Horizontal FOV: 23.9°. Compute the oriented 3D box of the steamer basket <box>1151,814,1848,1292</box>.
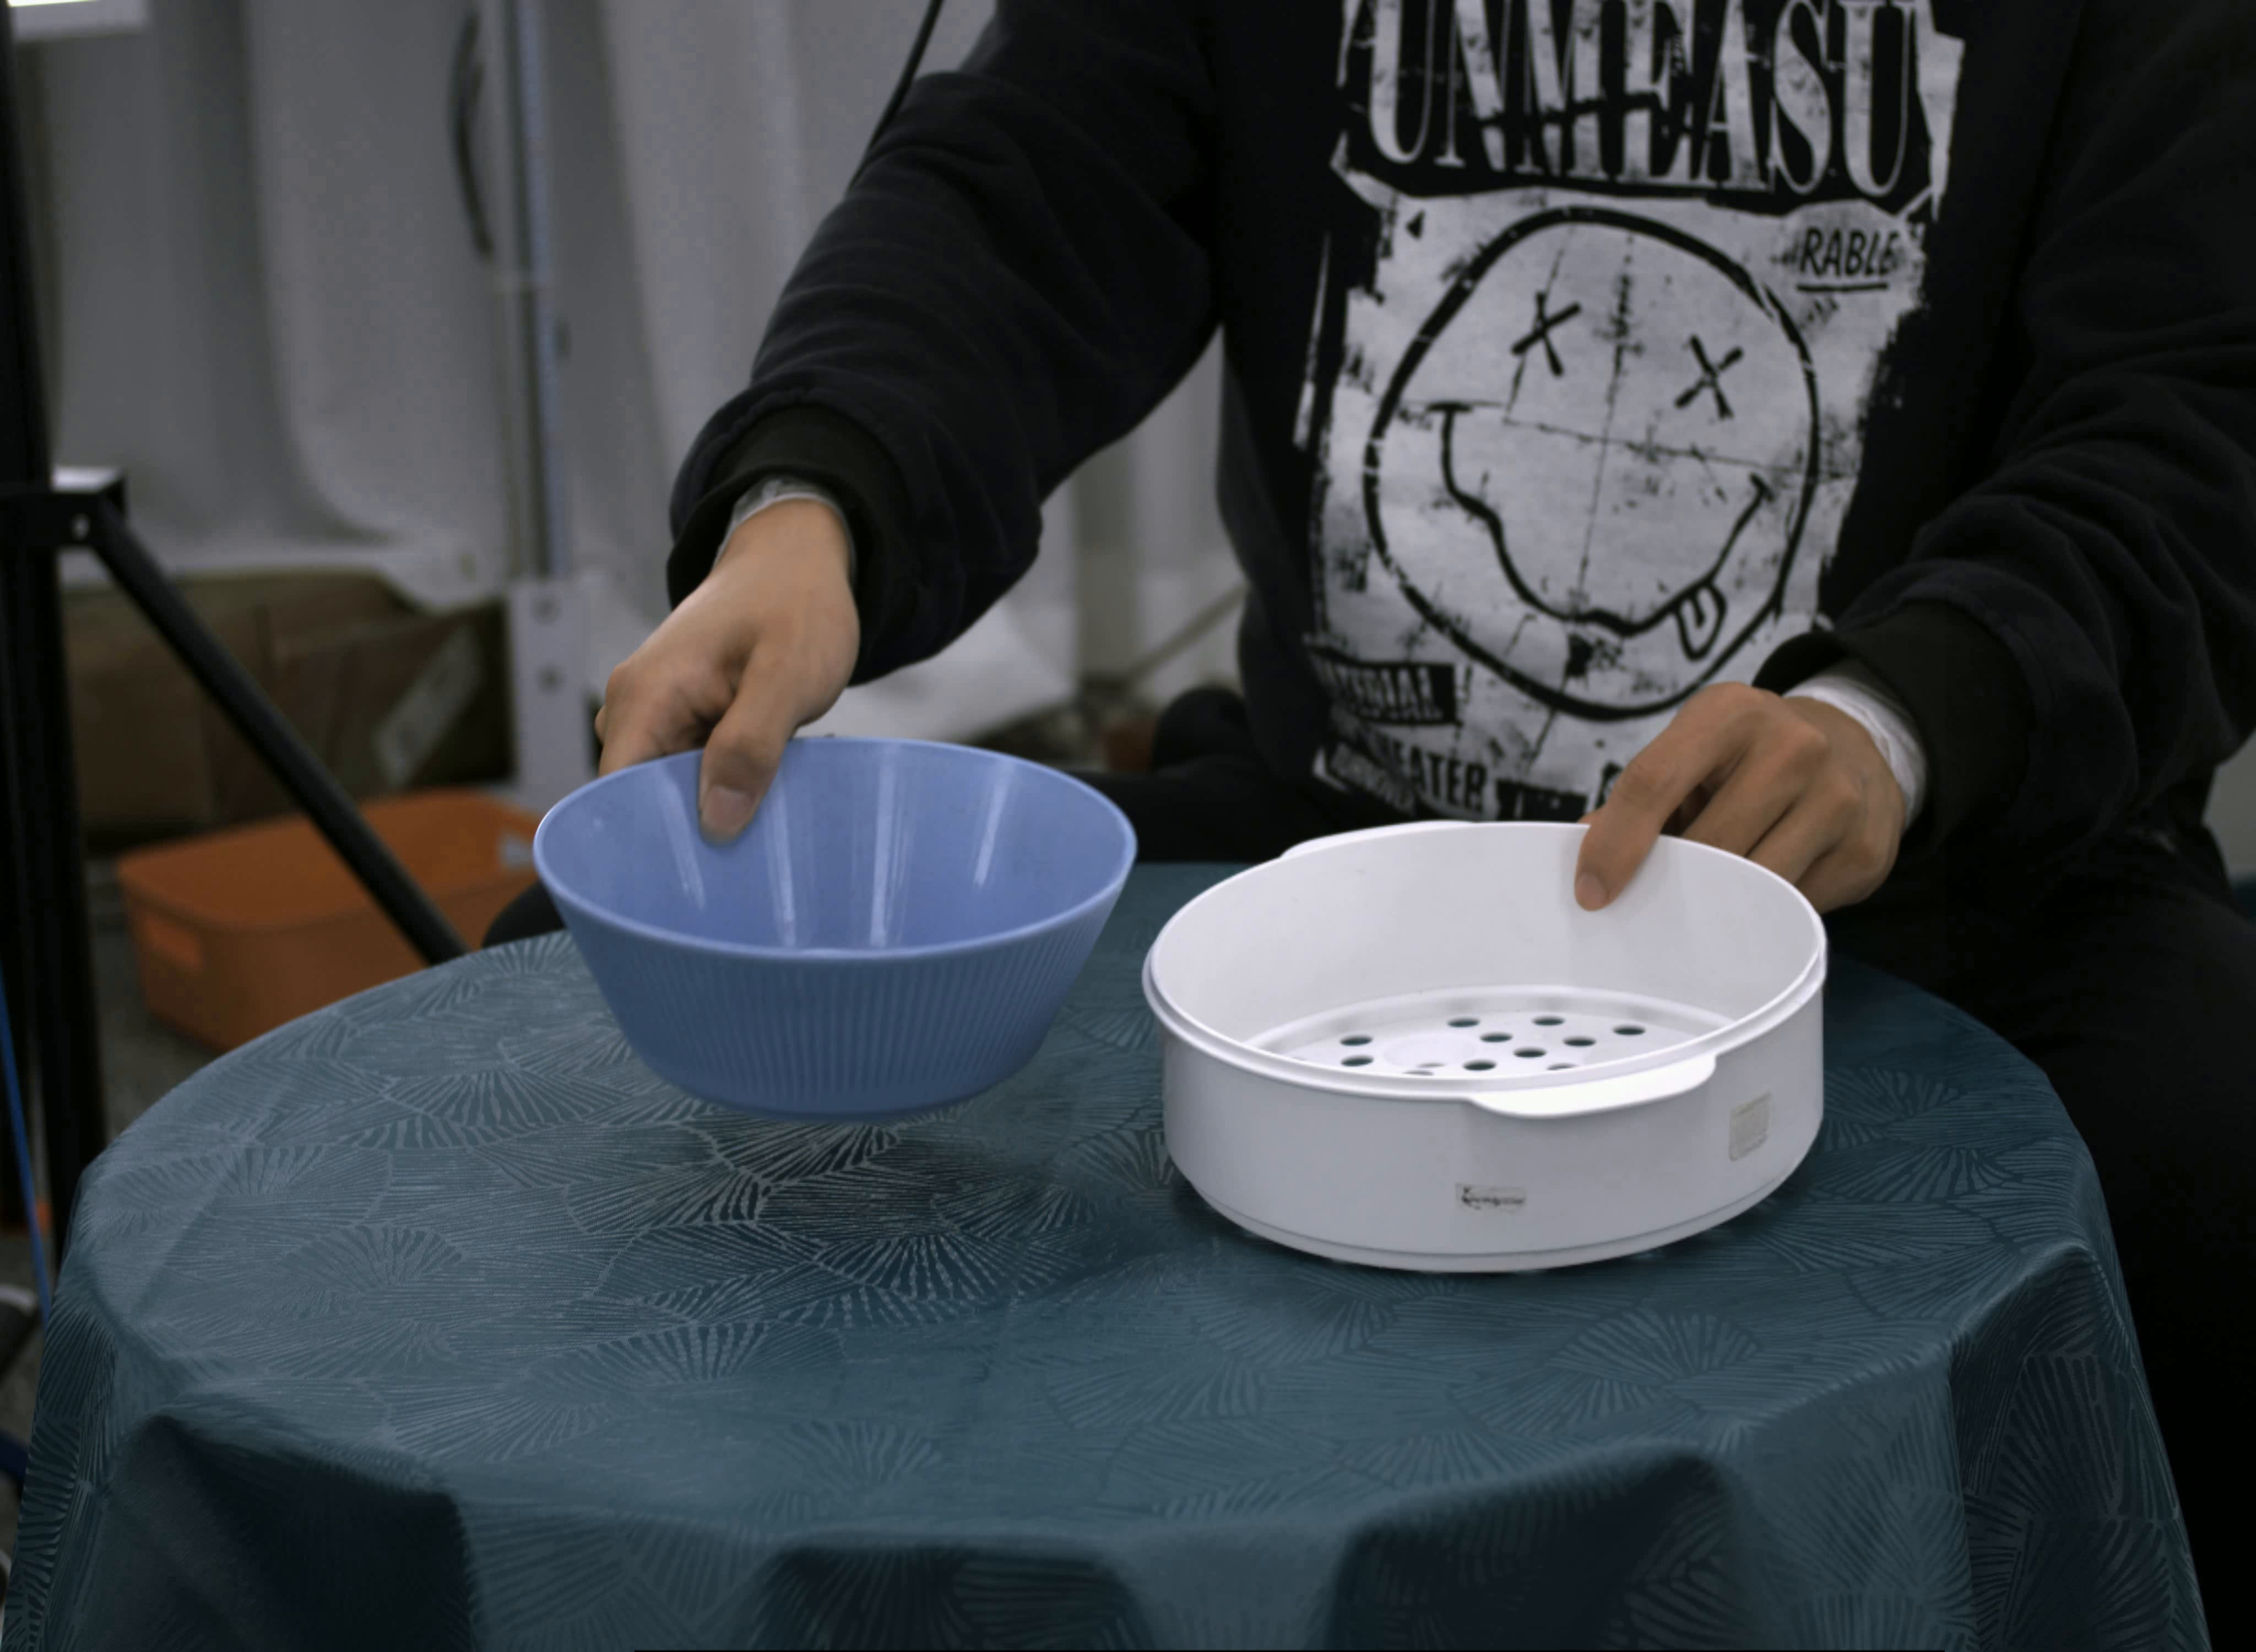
[{"bbox_3d":[0.108,0.066,1.544,0.199,0.069,0.234,-9,23,-12],"label":"steamer basket"}]

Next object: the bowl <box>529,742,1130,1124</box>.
[{"bbox_3d":[-0.088,0.035,1.563,0.175,0.070,0.177,1,21,-2],"label":"bowl"}]
